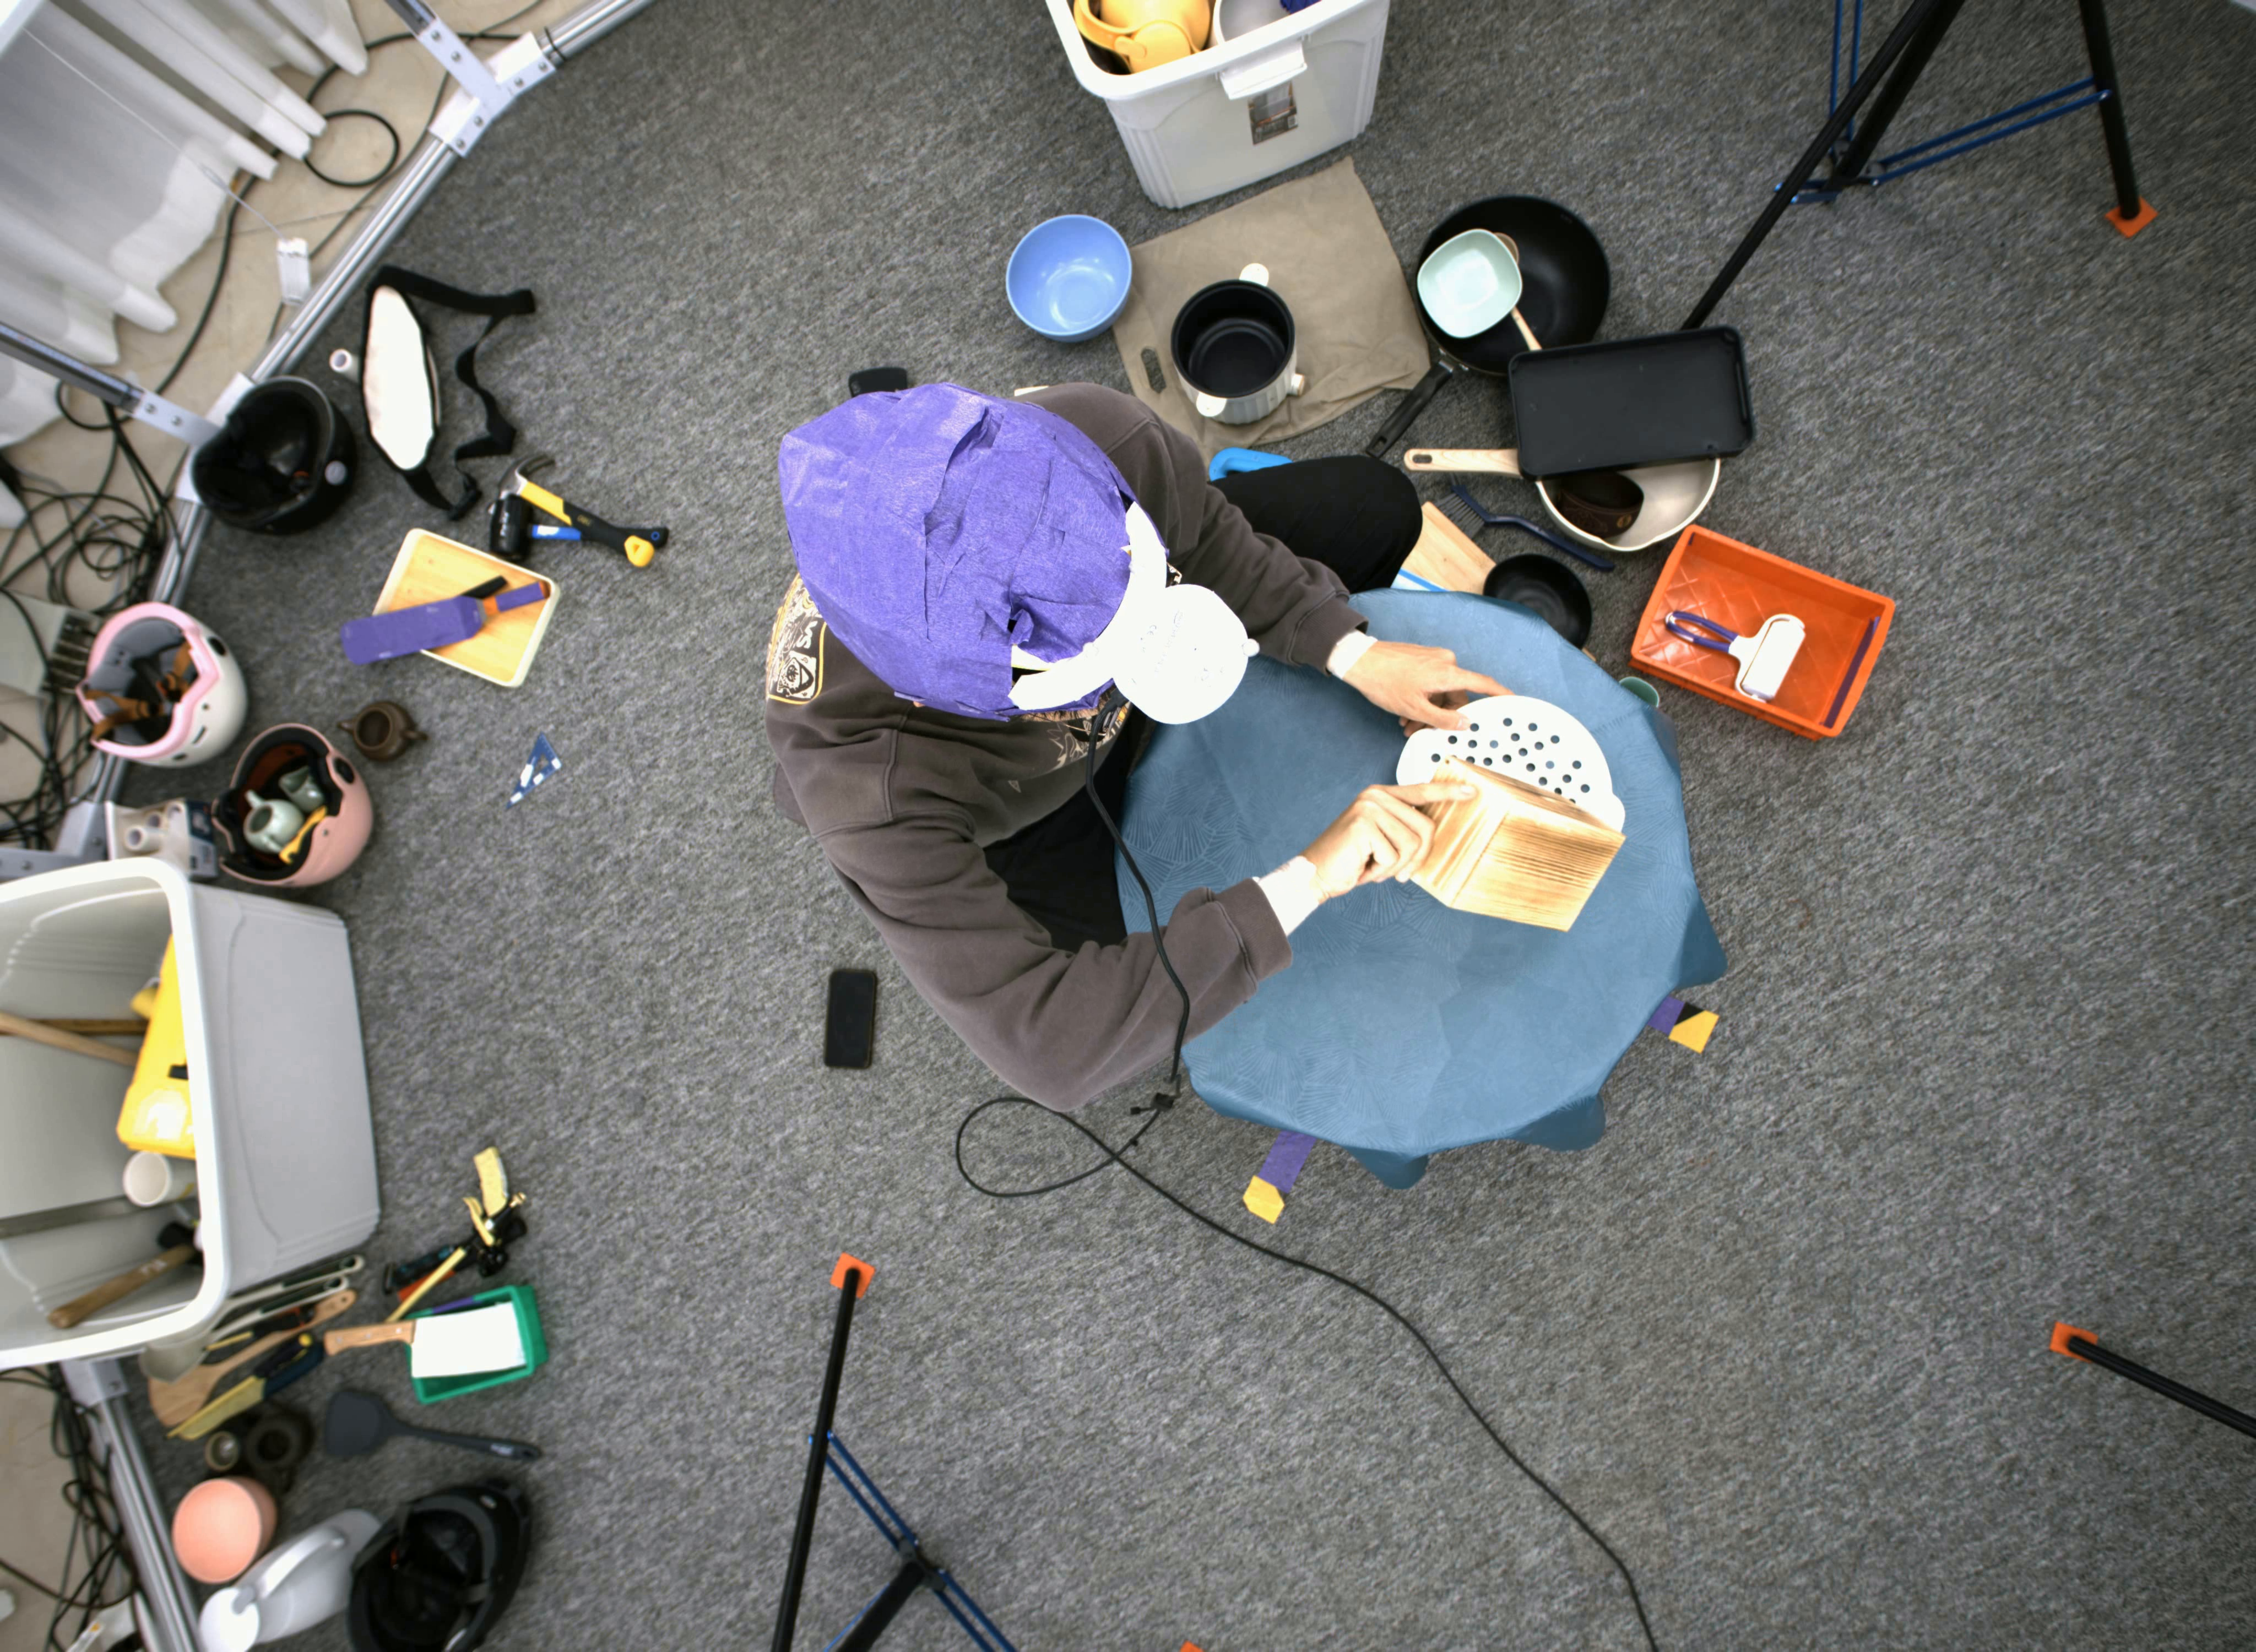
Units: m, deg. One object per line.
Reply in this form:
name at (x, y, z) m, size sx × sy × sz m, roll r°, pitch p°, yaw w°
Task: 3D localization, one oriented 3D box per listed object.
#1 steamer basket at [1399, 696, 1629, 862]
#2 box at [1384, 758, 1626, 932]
steamer basket at (0.392, -0.031, 1.405) m, size 0.230 × 0.069 × 0.202 m, roll 22°, pitch 91°, yaw 12°
box at (0.338, 0.019, 1.219) m, size 0.079 × 0.211 × 0.109 m, roll 43°, pitch 112°, yaw 41°
